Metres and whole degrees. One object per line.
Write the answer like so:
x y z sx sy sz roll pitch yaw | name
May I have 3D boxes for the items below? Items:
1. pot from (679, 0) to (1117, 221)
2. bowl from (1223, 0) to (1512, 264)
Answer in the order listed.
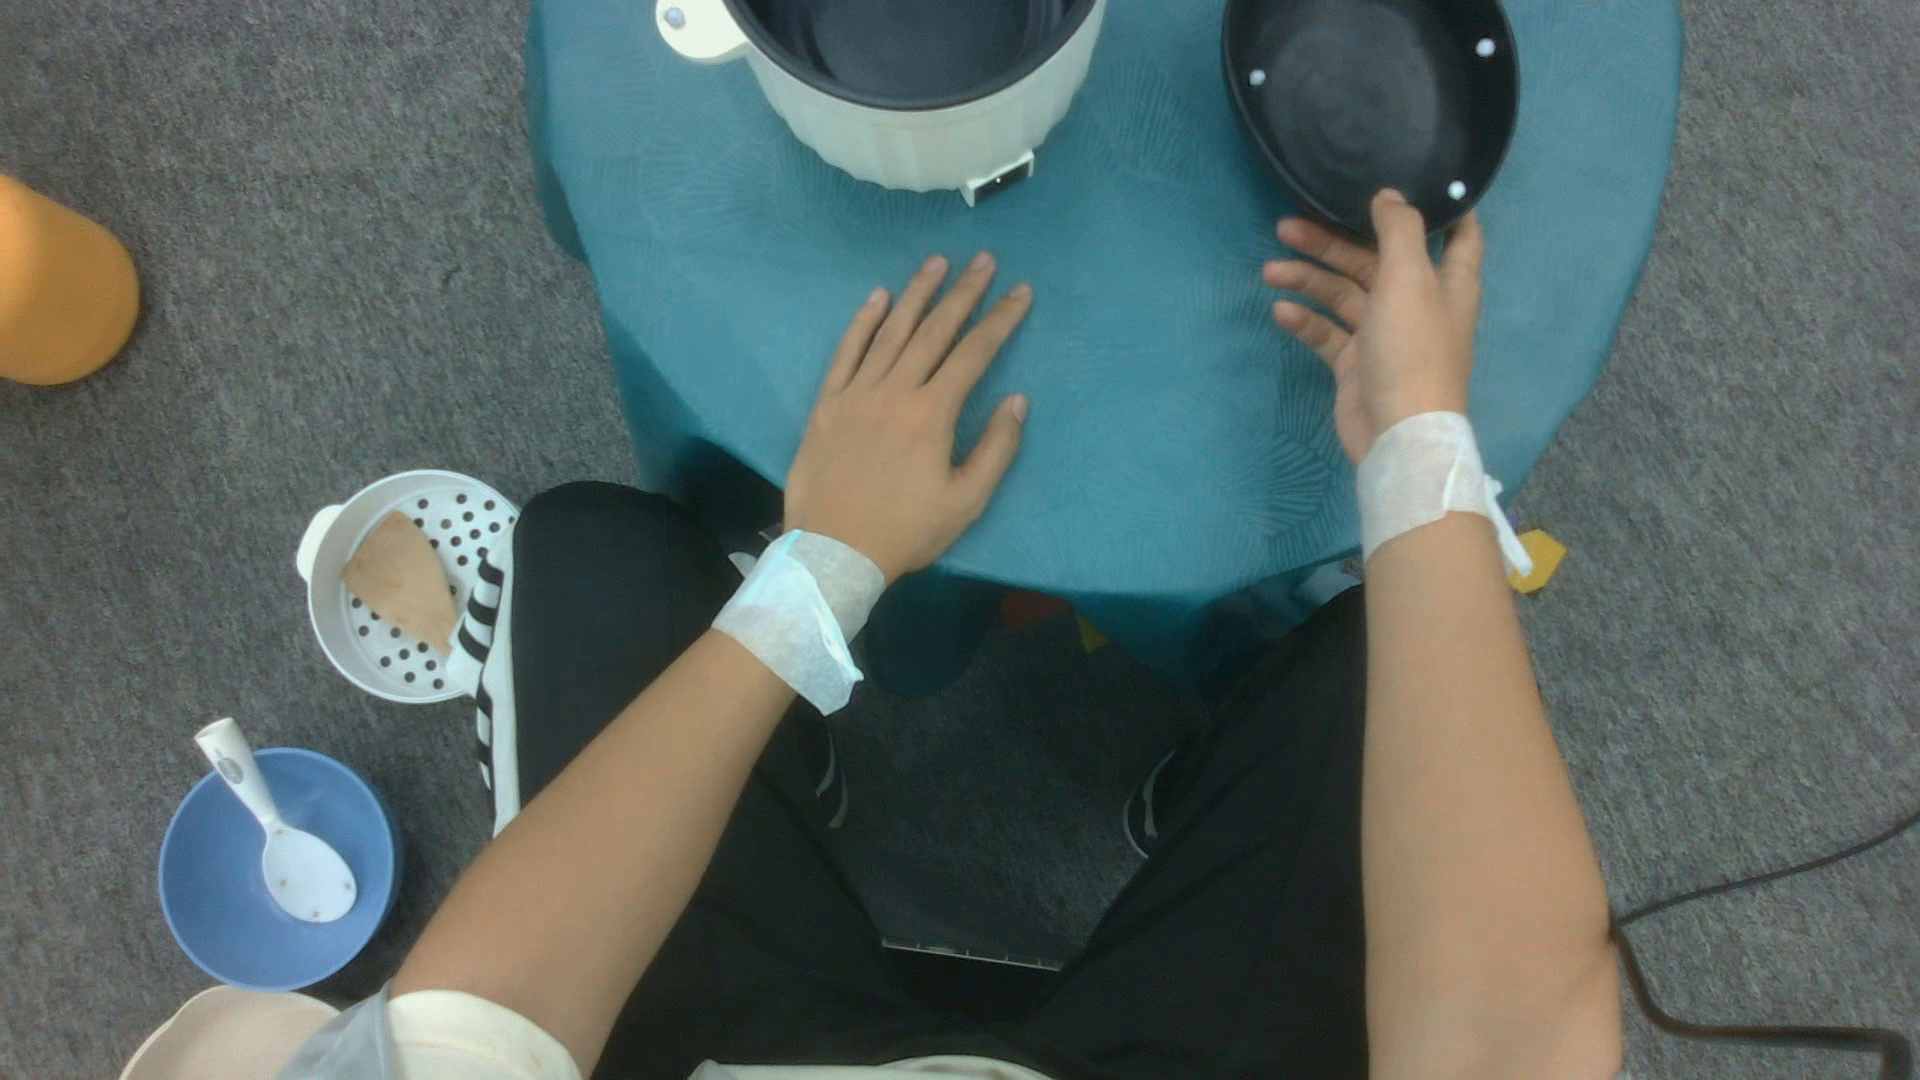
-0.020 -0.263 0.677 0.240 0.142 0.190 -28 87 -3 | pot
0.203 -0.219 0.704 0.137 0.066 0.170 -21 84 0 | bowl
